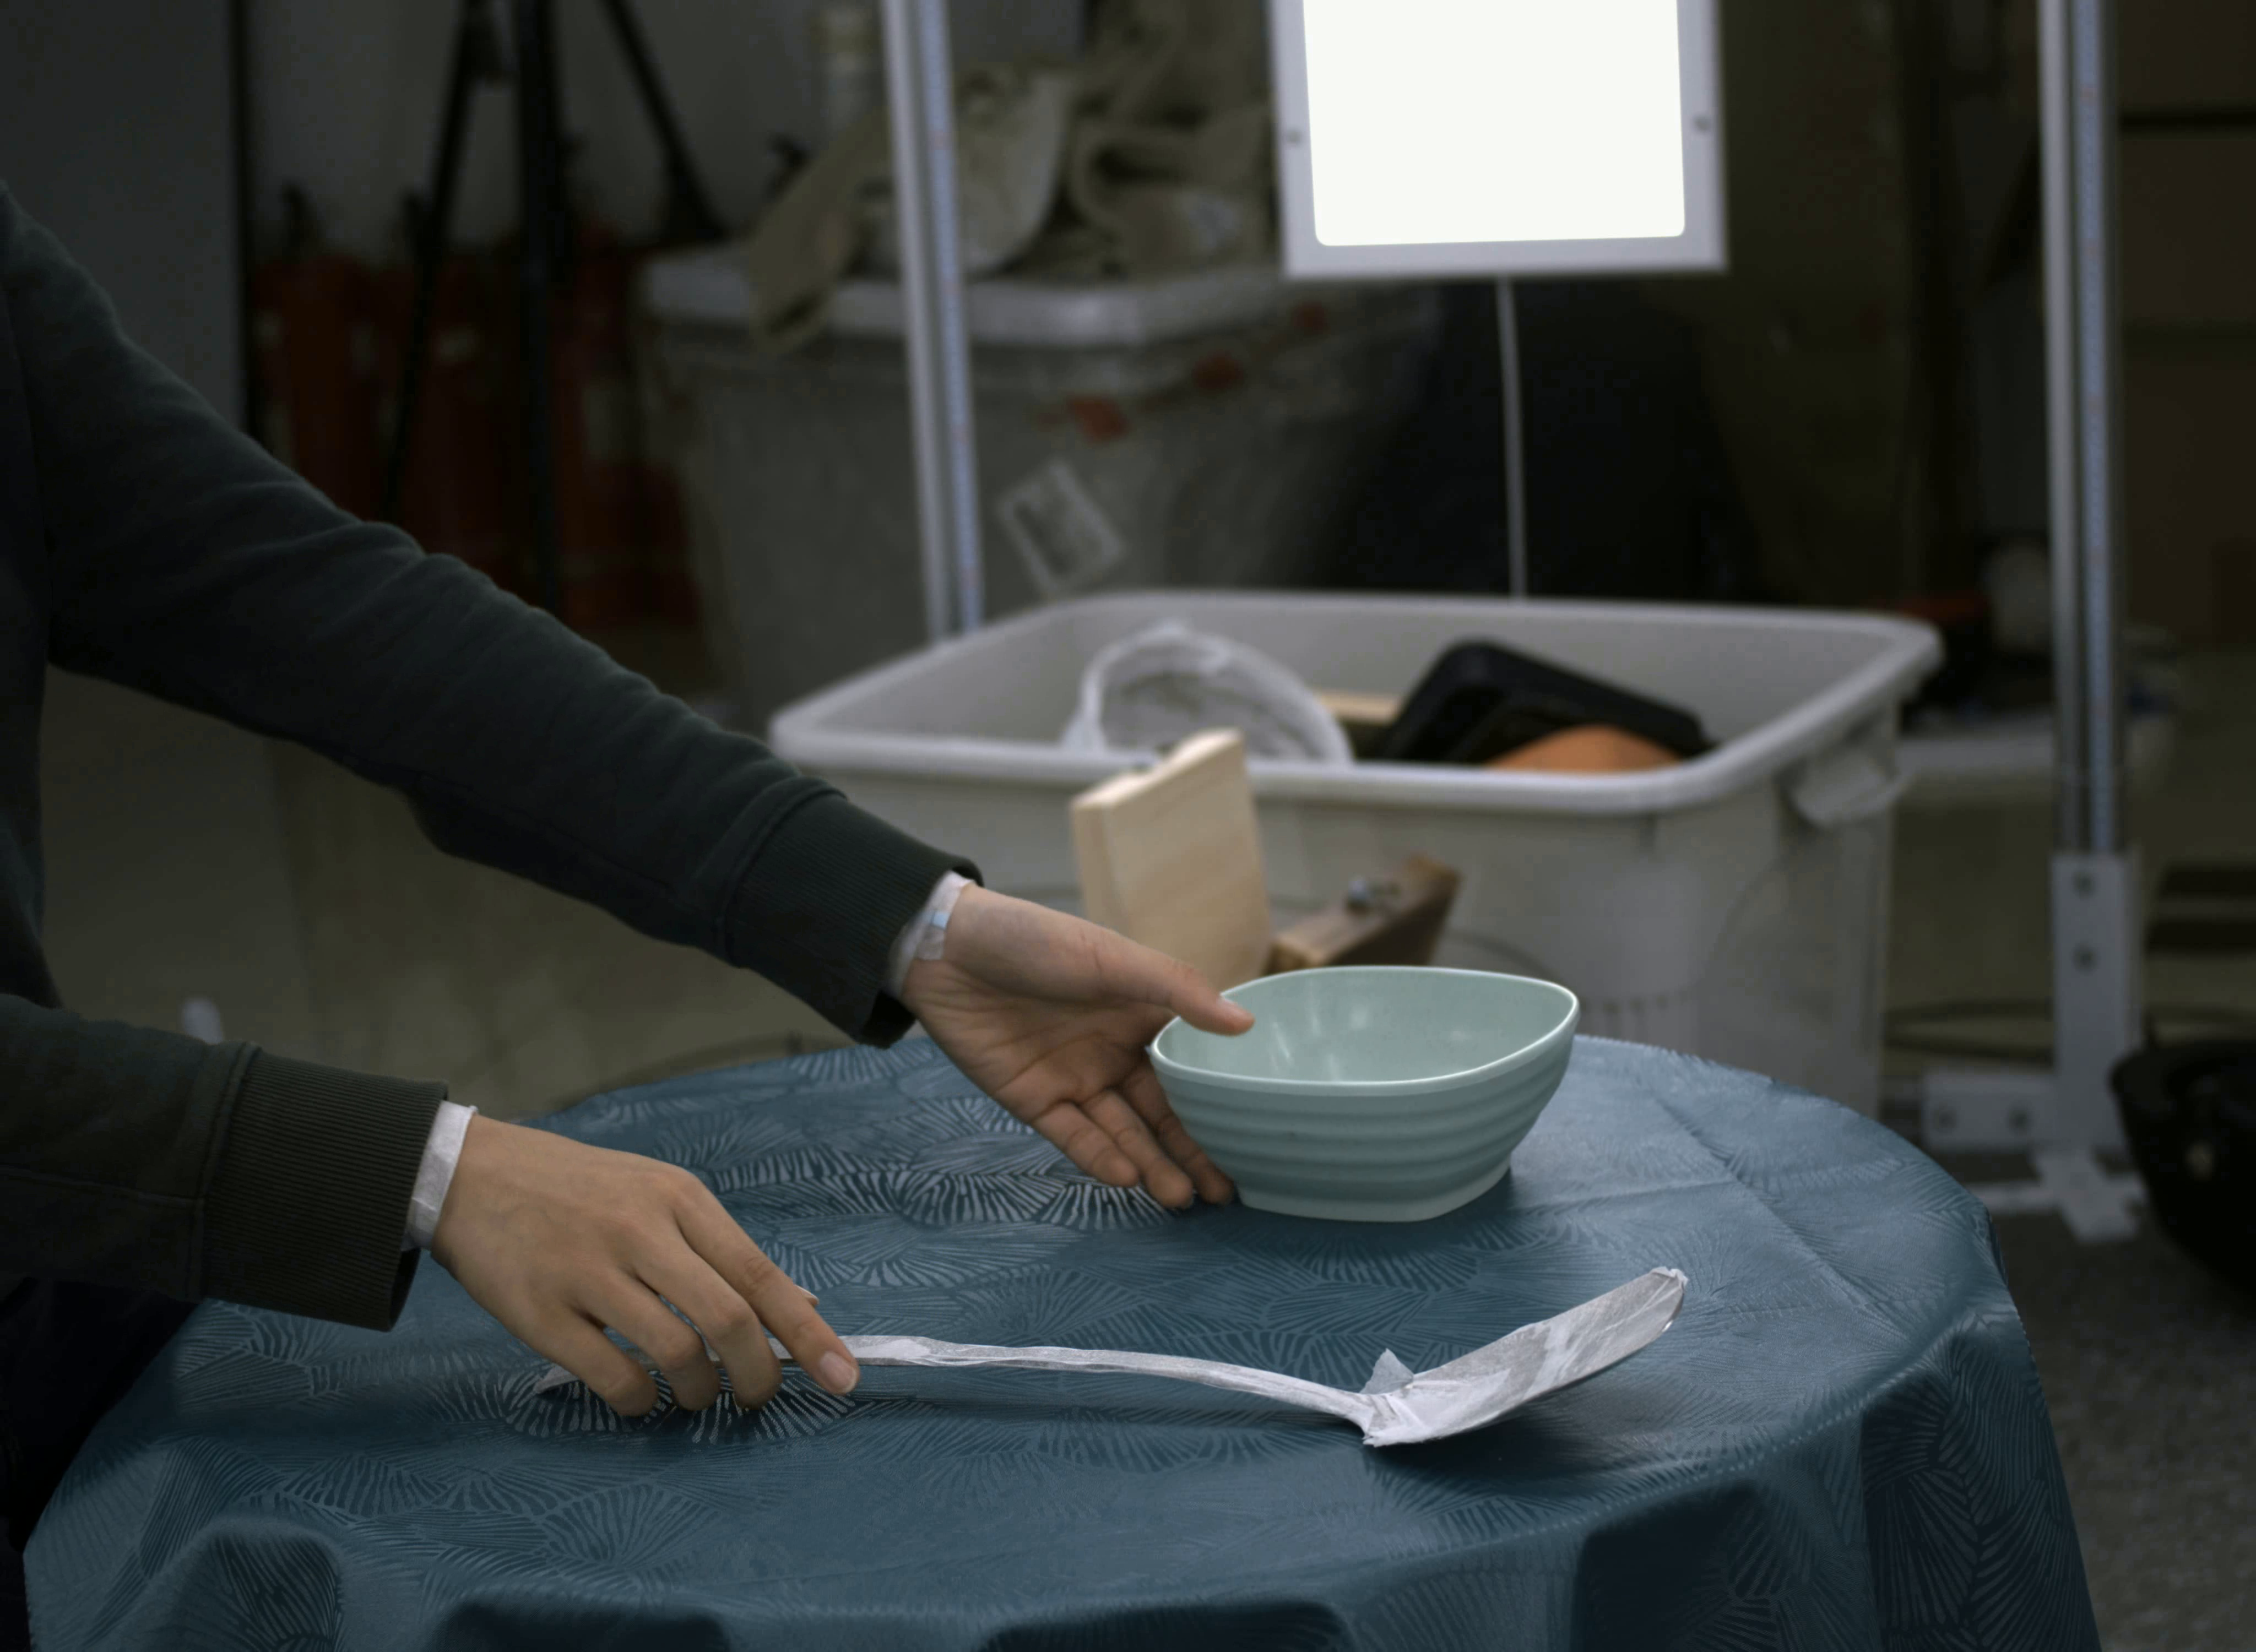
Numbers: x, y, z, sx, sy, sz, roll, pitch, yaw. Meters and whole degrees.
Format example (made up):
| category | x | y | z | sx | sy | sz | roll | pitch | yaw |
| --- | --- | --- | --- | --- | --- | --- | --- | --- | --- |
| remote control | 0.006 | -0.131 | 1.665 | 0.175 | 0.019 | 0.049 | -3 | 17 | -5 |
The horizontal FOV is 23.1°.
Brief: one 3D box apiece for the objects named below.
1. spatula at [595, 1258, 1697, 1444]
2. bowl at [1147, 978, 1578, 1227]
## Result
| category | x | y | z | sx | sy | sz | roll | pitch | yaw |
| --- | --- | --- | --- | --- | --- | --- | --- | --- | --- |
| spatula | -0.005 | 0.159 | 1.685 | 0.370 | 0.045 | 0.097 | 1 | 17 | 22 |
| bowl | 0.082 | 0.097 | 1.877 | 0.151 | 0.059 | 0.151 | -3 | 12 | -1 |
